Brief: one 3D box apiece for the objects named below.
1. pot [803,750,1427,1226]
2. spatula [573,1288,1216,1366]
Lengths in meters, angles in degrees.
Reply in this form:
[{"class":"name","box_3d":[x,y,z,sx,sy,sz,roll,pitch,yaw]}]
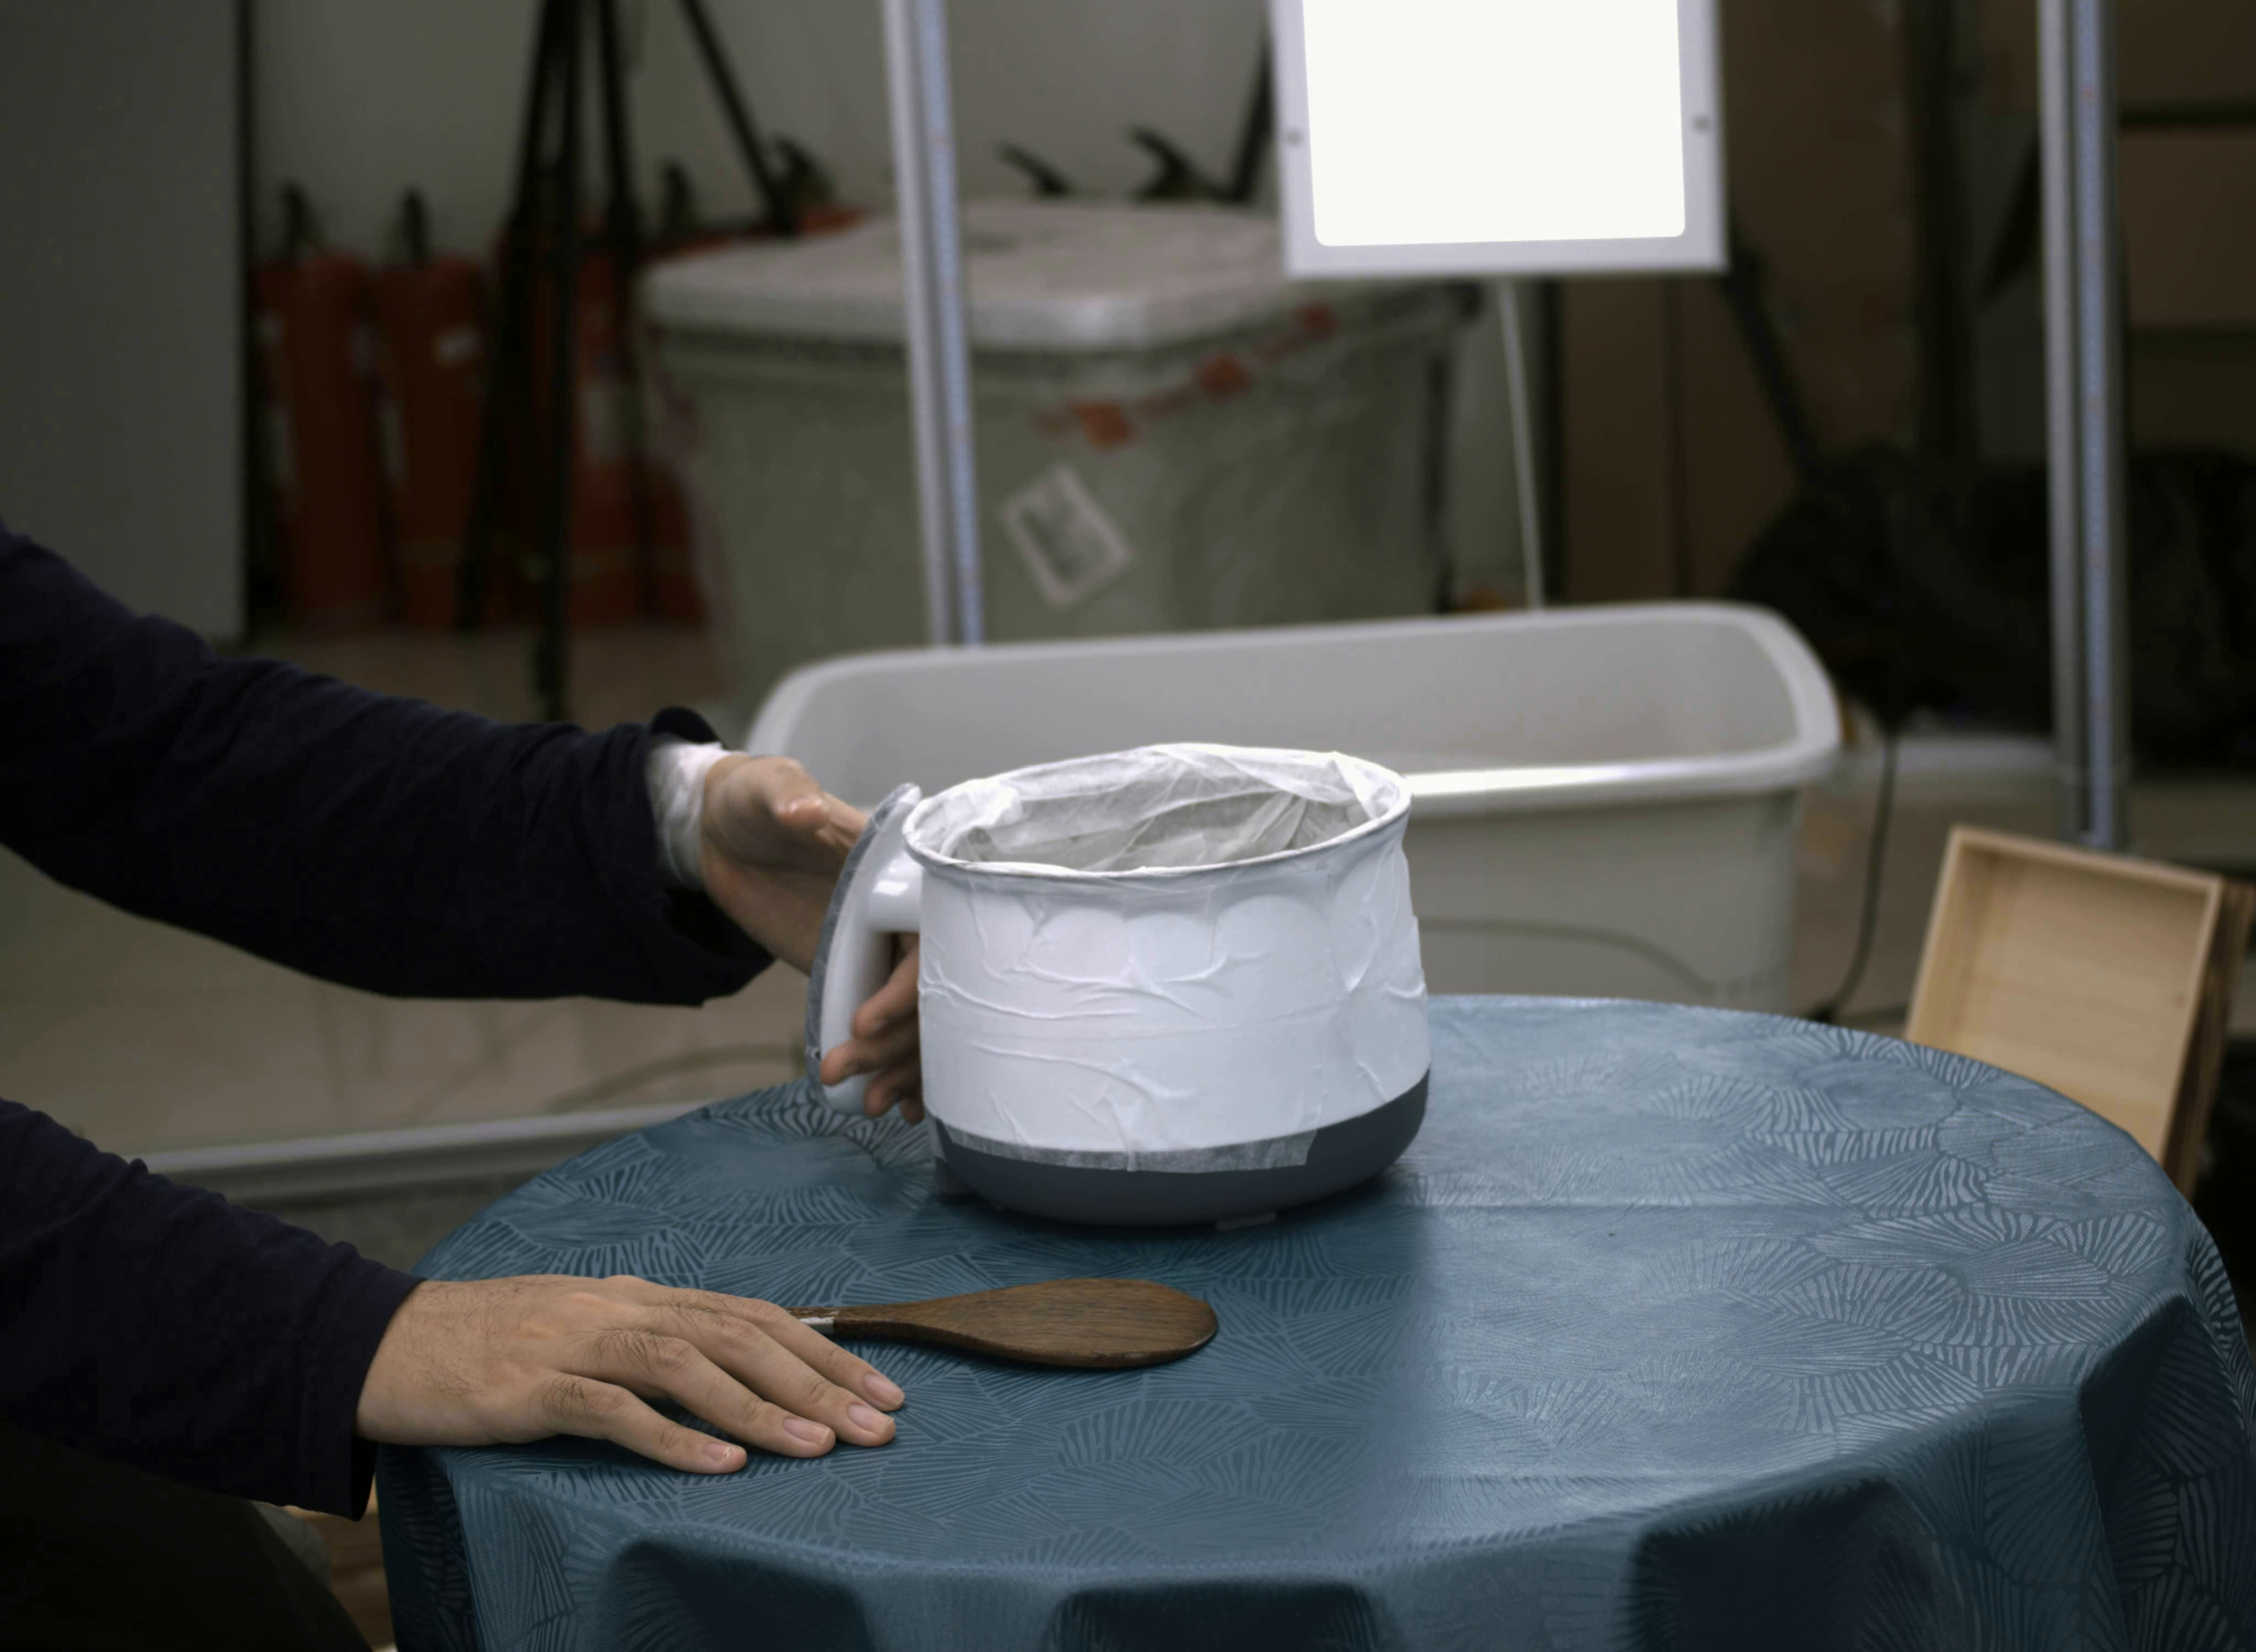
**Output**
[{"class":"pot","box_3d":[-0.010,0.052,1.915,0.238,0.137,0.175,4,13,27]},{"class":"spatula","box_3d":[-0.076,0.162,1.777,0.218,0.009,0.071,-2,13,18]}]
